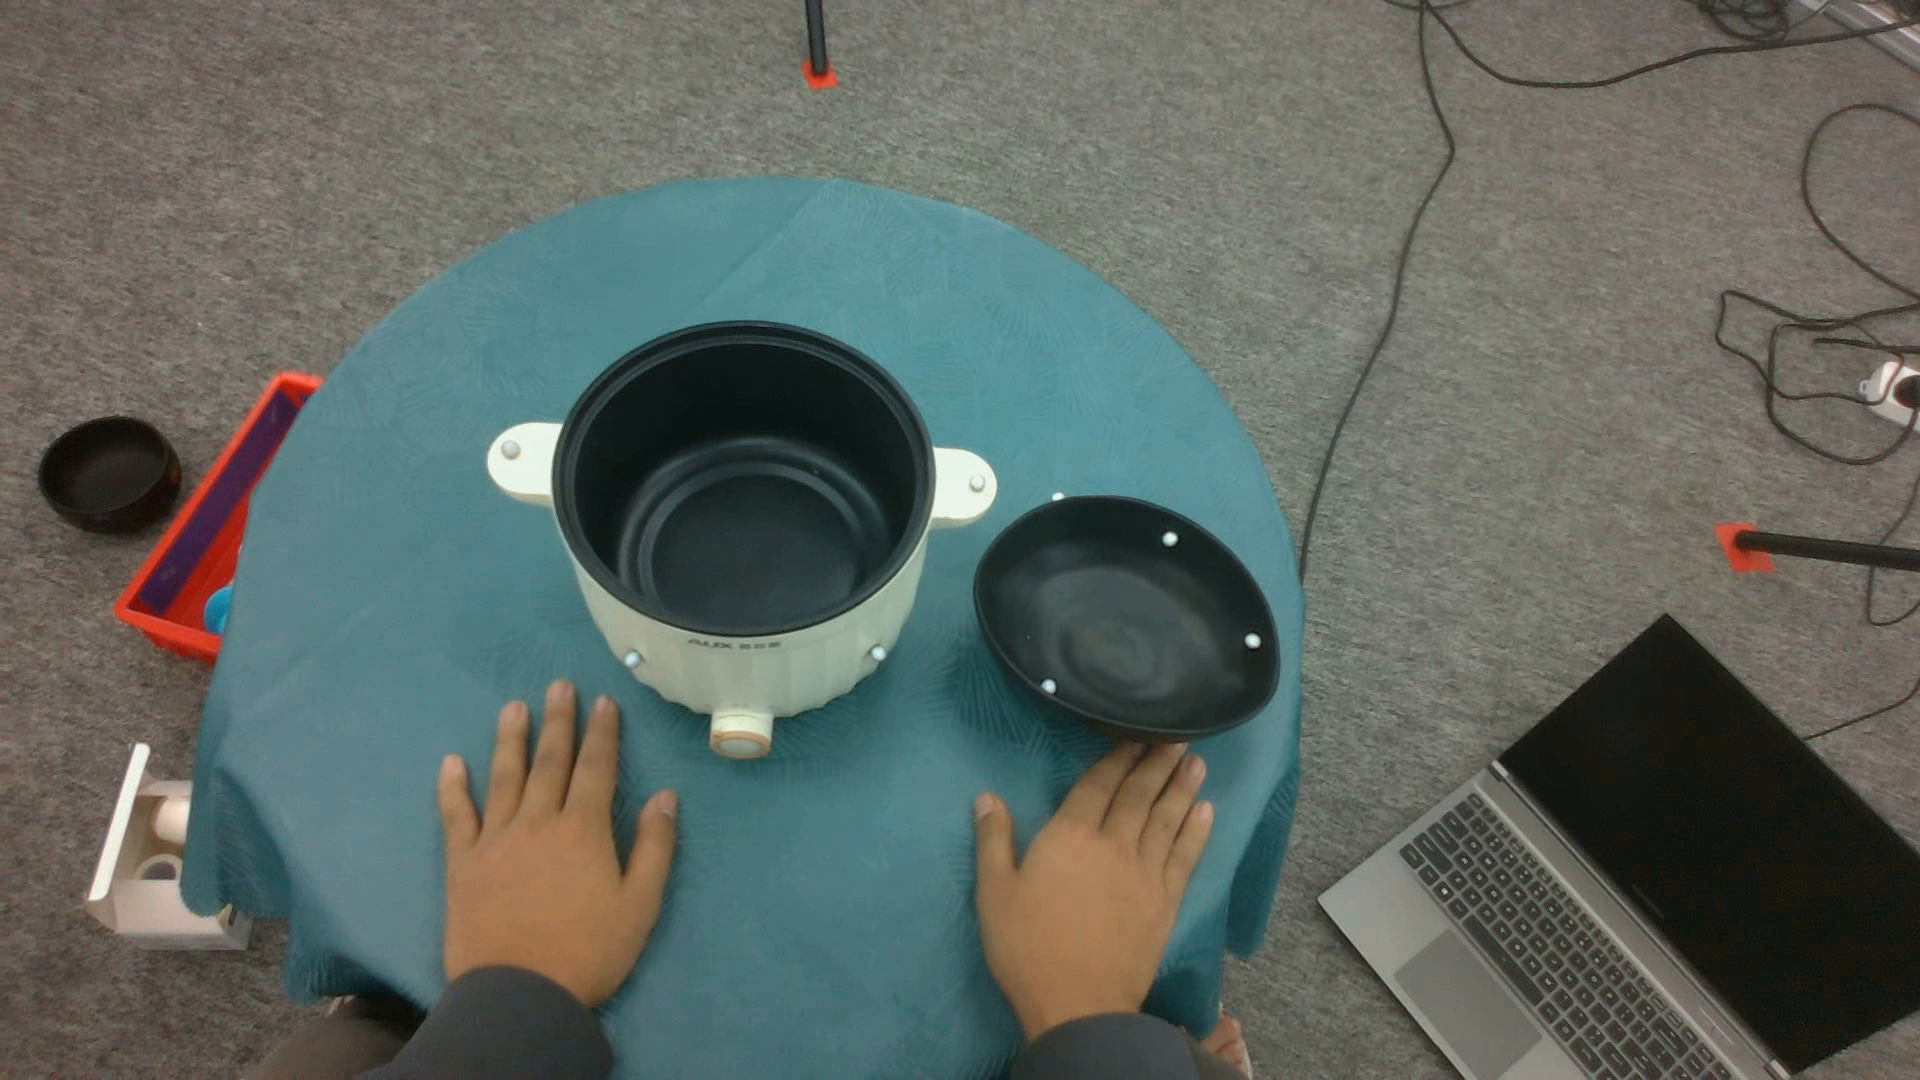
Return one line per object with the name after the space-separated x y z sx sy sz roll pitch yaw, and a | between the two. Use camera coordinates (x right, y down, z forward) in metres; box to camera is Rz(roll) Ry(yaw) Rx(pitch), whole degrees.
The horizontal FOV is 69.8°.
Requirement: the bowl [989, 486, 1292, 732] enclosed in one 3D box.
0.097 0.046 0.759 0.170 0.066 0.138 18 60 5 | bowl

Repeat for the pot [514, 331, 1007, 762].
-0.098 0.007 0.726 0.240 0.142 0.191 -1 56 -3 | pot
